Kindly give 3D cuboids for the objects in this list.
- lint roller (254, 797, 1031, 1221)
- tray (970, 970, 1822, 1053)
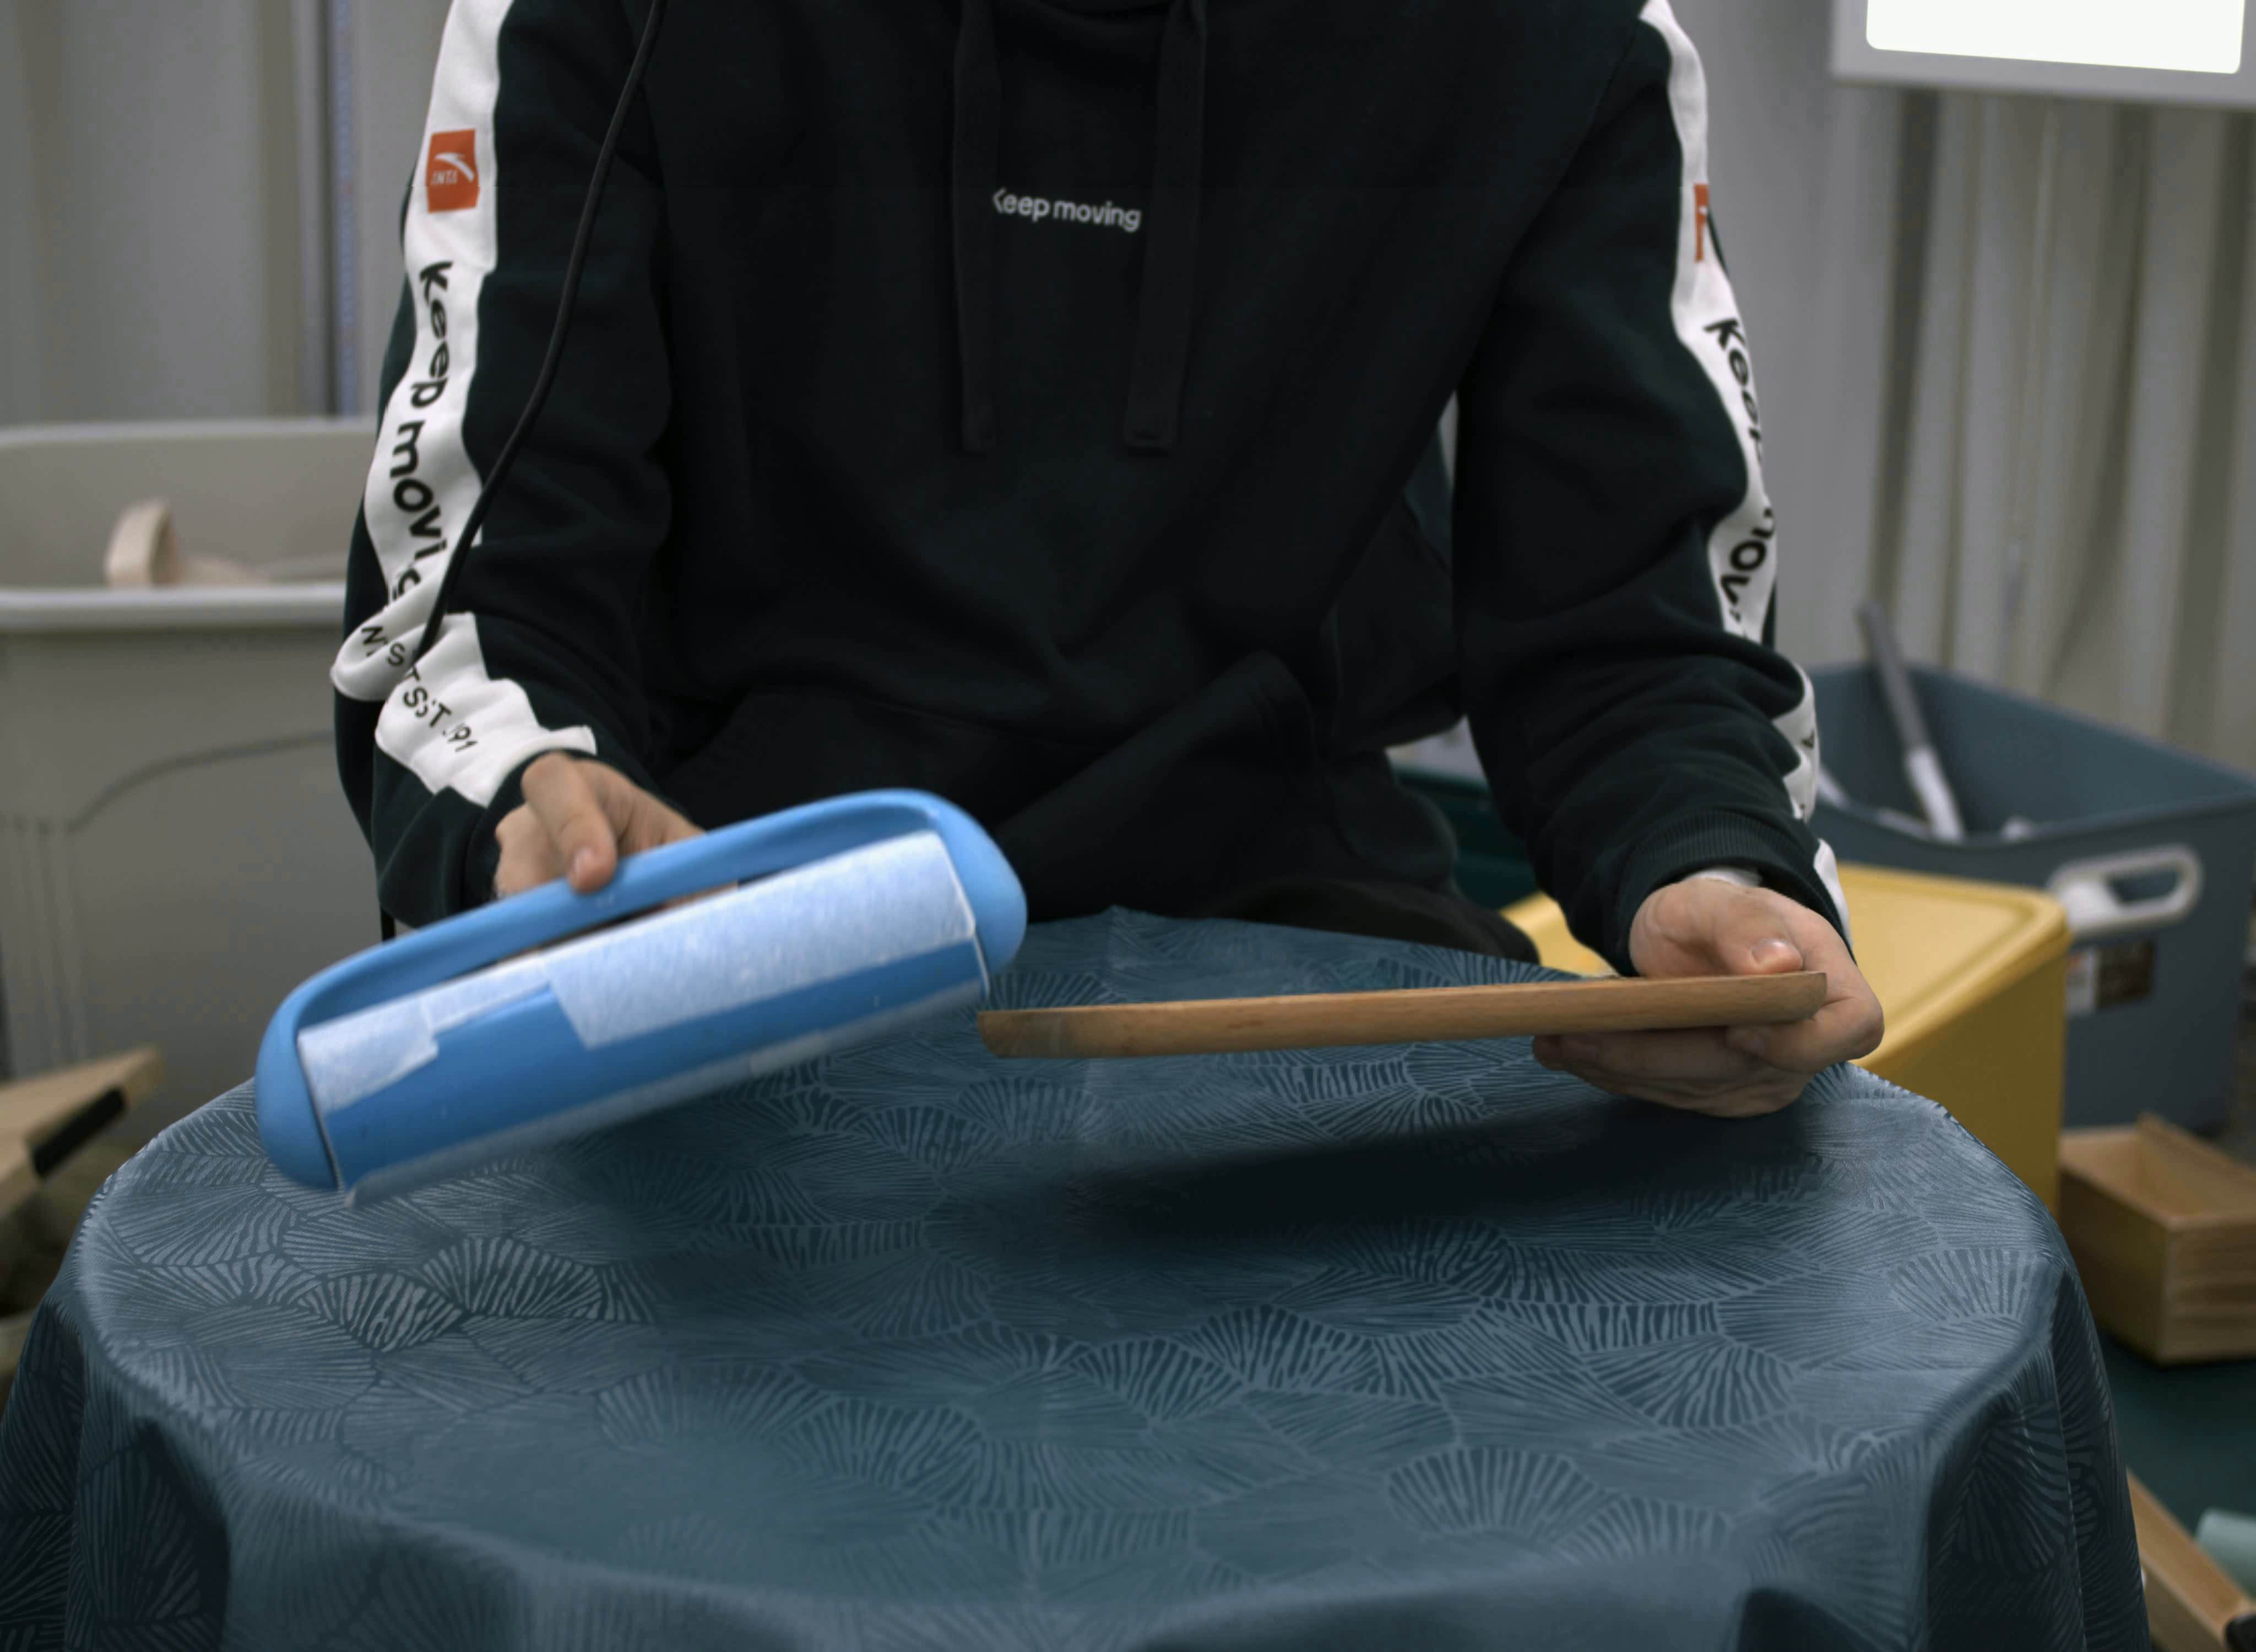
[{"bbox_3d":[-0.150,0.045,1.554,0.229,0.068,0.179,-20,14,-9],"label":"lint roller"},{"bbox_3d":[0.082,0.057,1.613,0.251,0.023,0.130,-3,-4,-21],"label":"tray"}]
